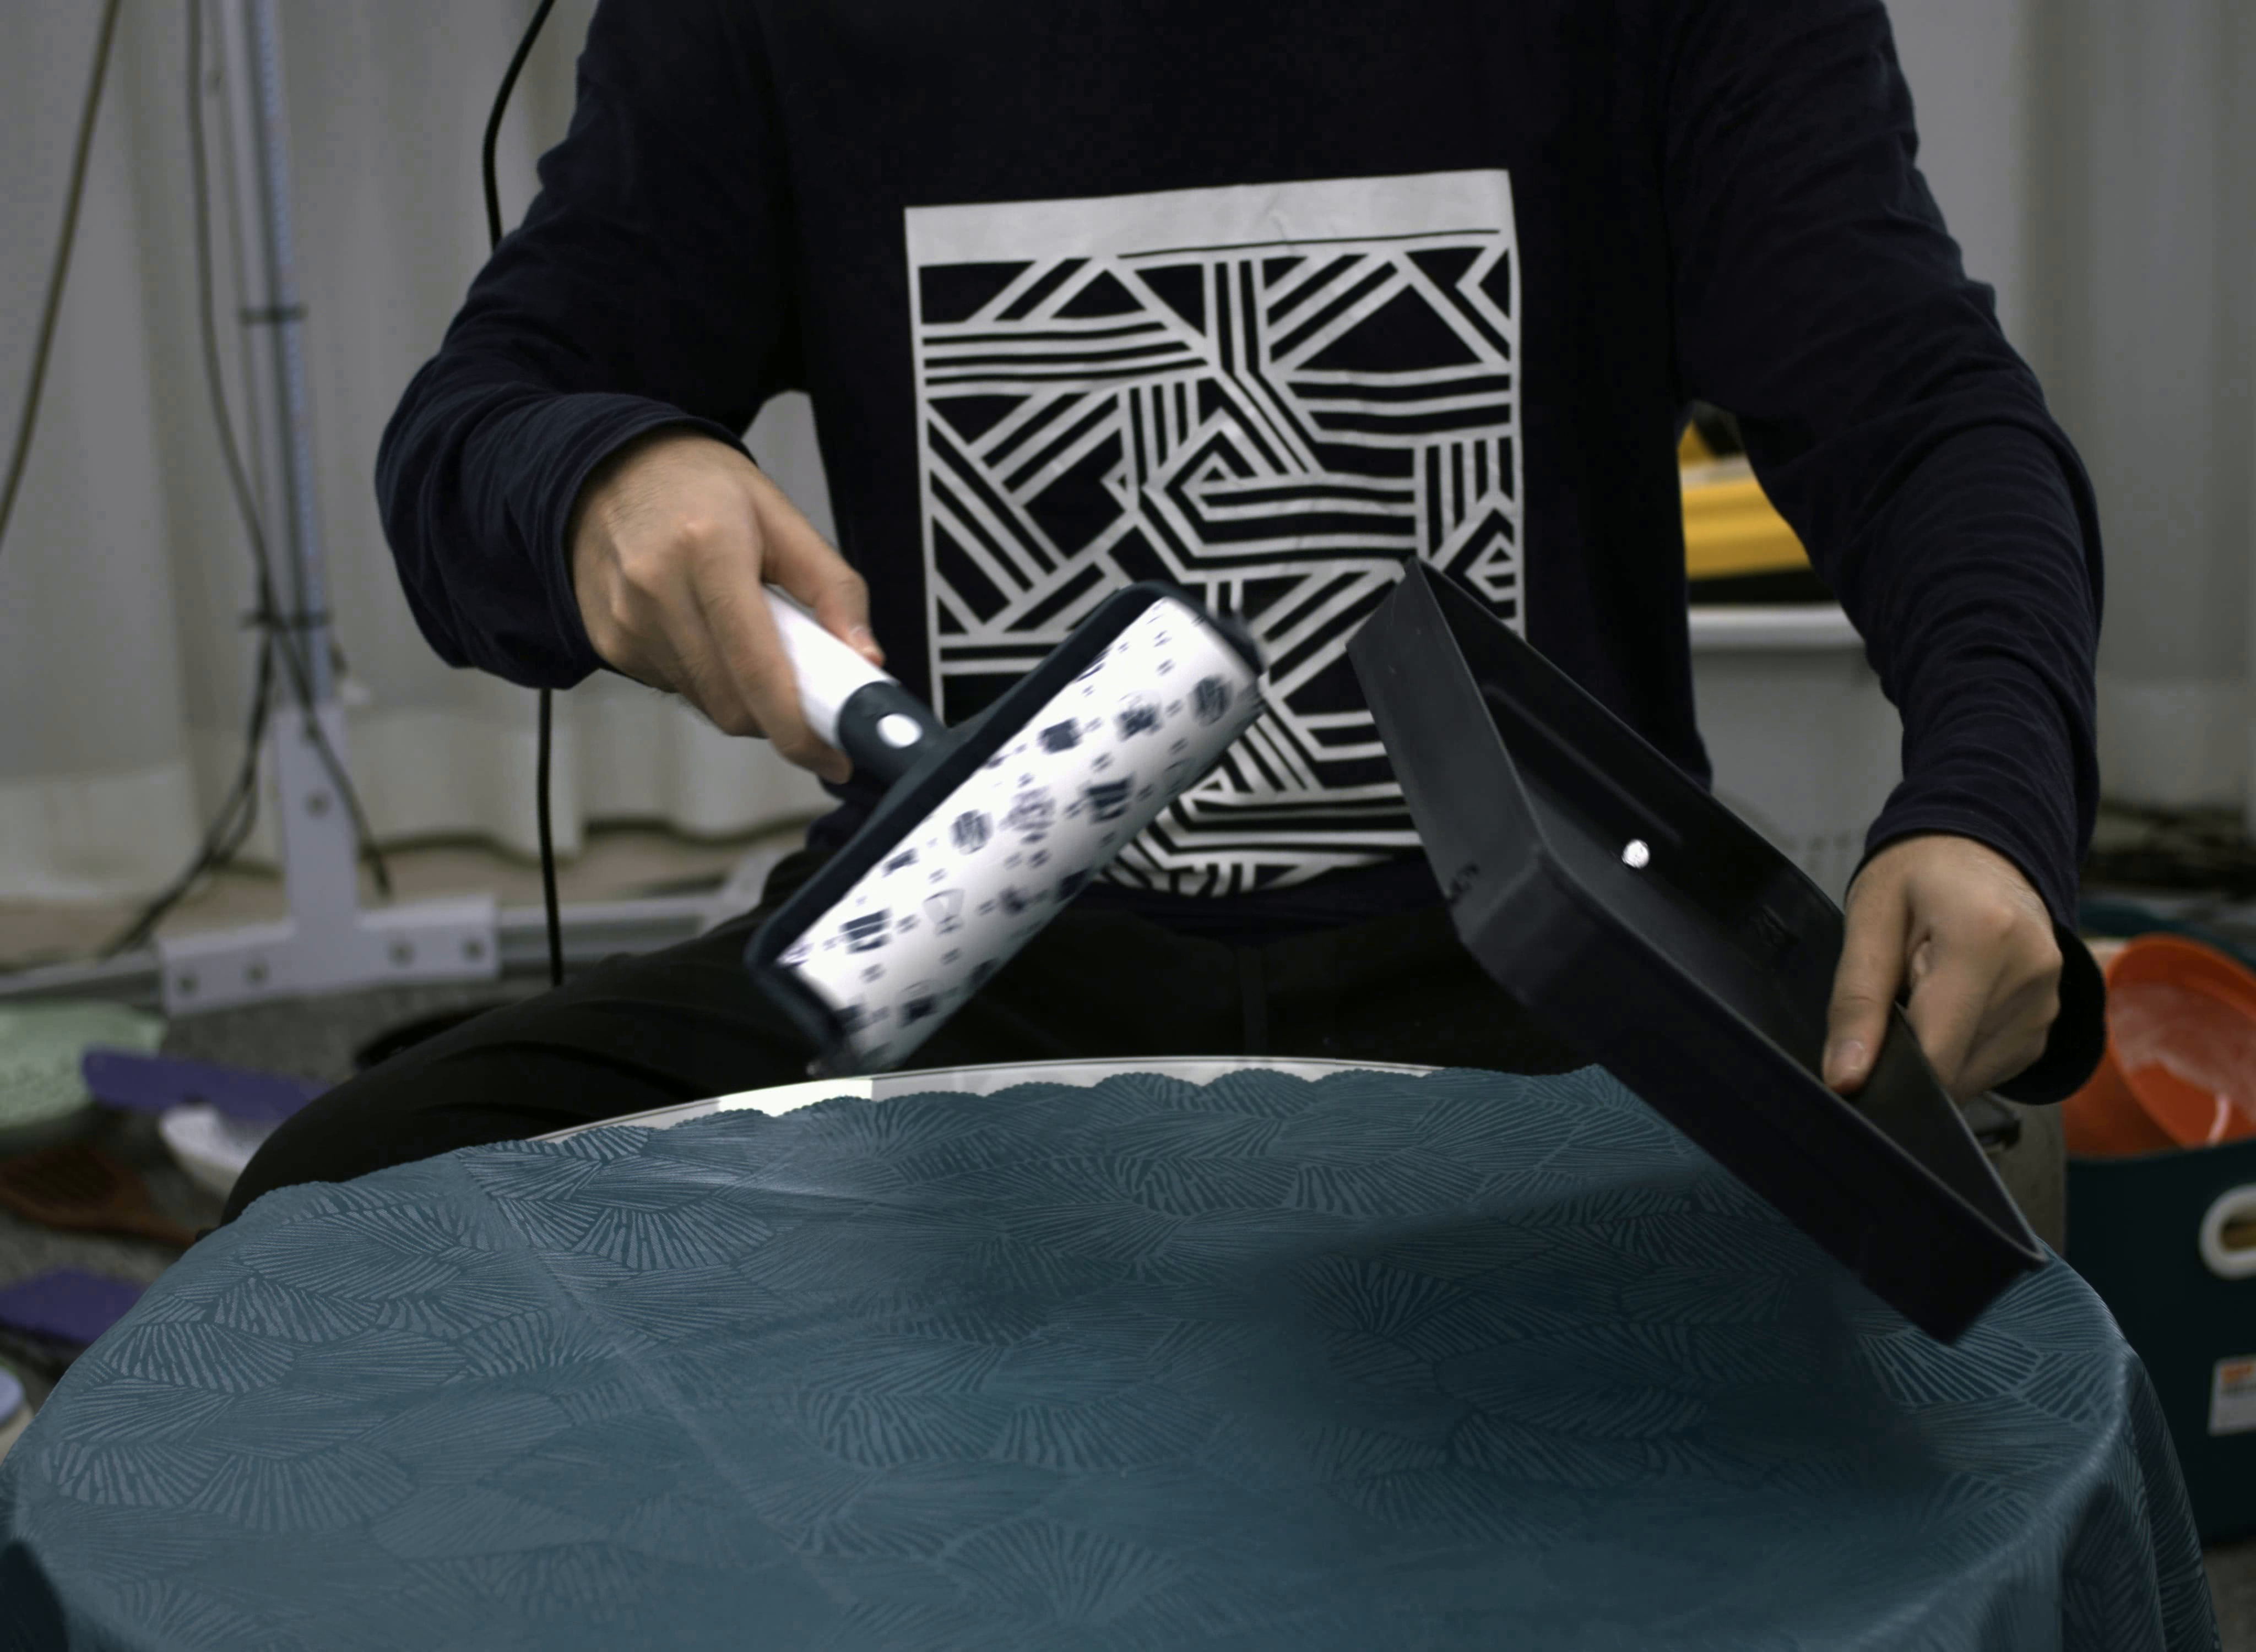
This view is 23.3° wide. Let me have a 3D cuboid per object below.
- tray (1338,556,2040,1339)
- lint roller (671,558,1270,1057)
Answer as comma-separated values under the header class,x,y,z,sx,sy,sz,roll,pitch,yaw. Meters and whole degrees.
class,x,y,z,sx,sy,sz,roll,pitch,yaw
tray,0.151,0.027,1.554,0.183,0.037,0.320,39,10,-14
lint roller,-0.084,-0.038,1.722,0.177,0.050,0.249,-45,41,-10
